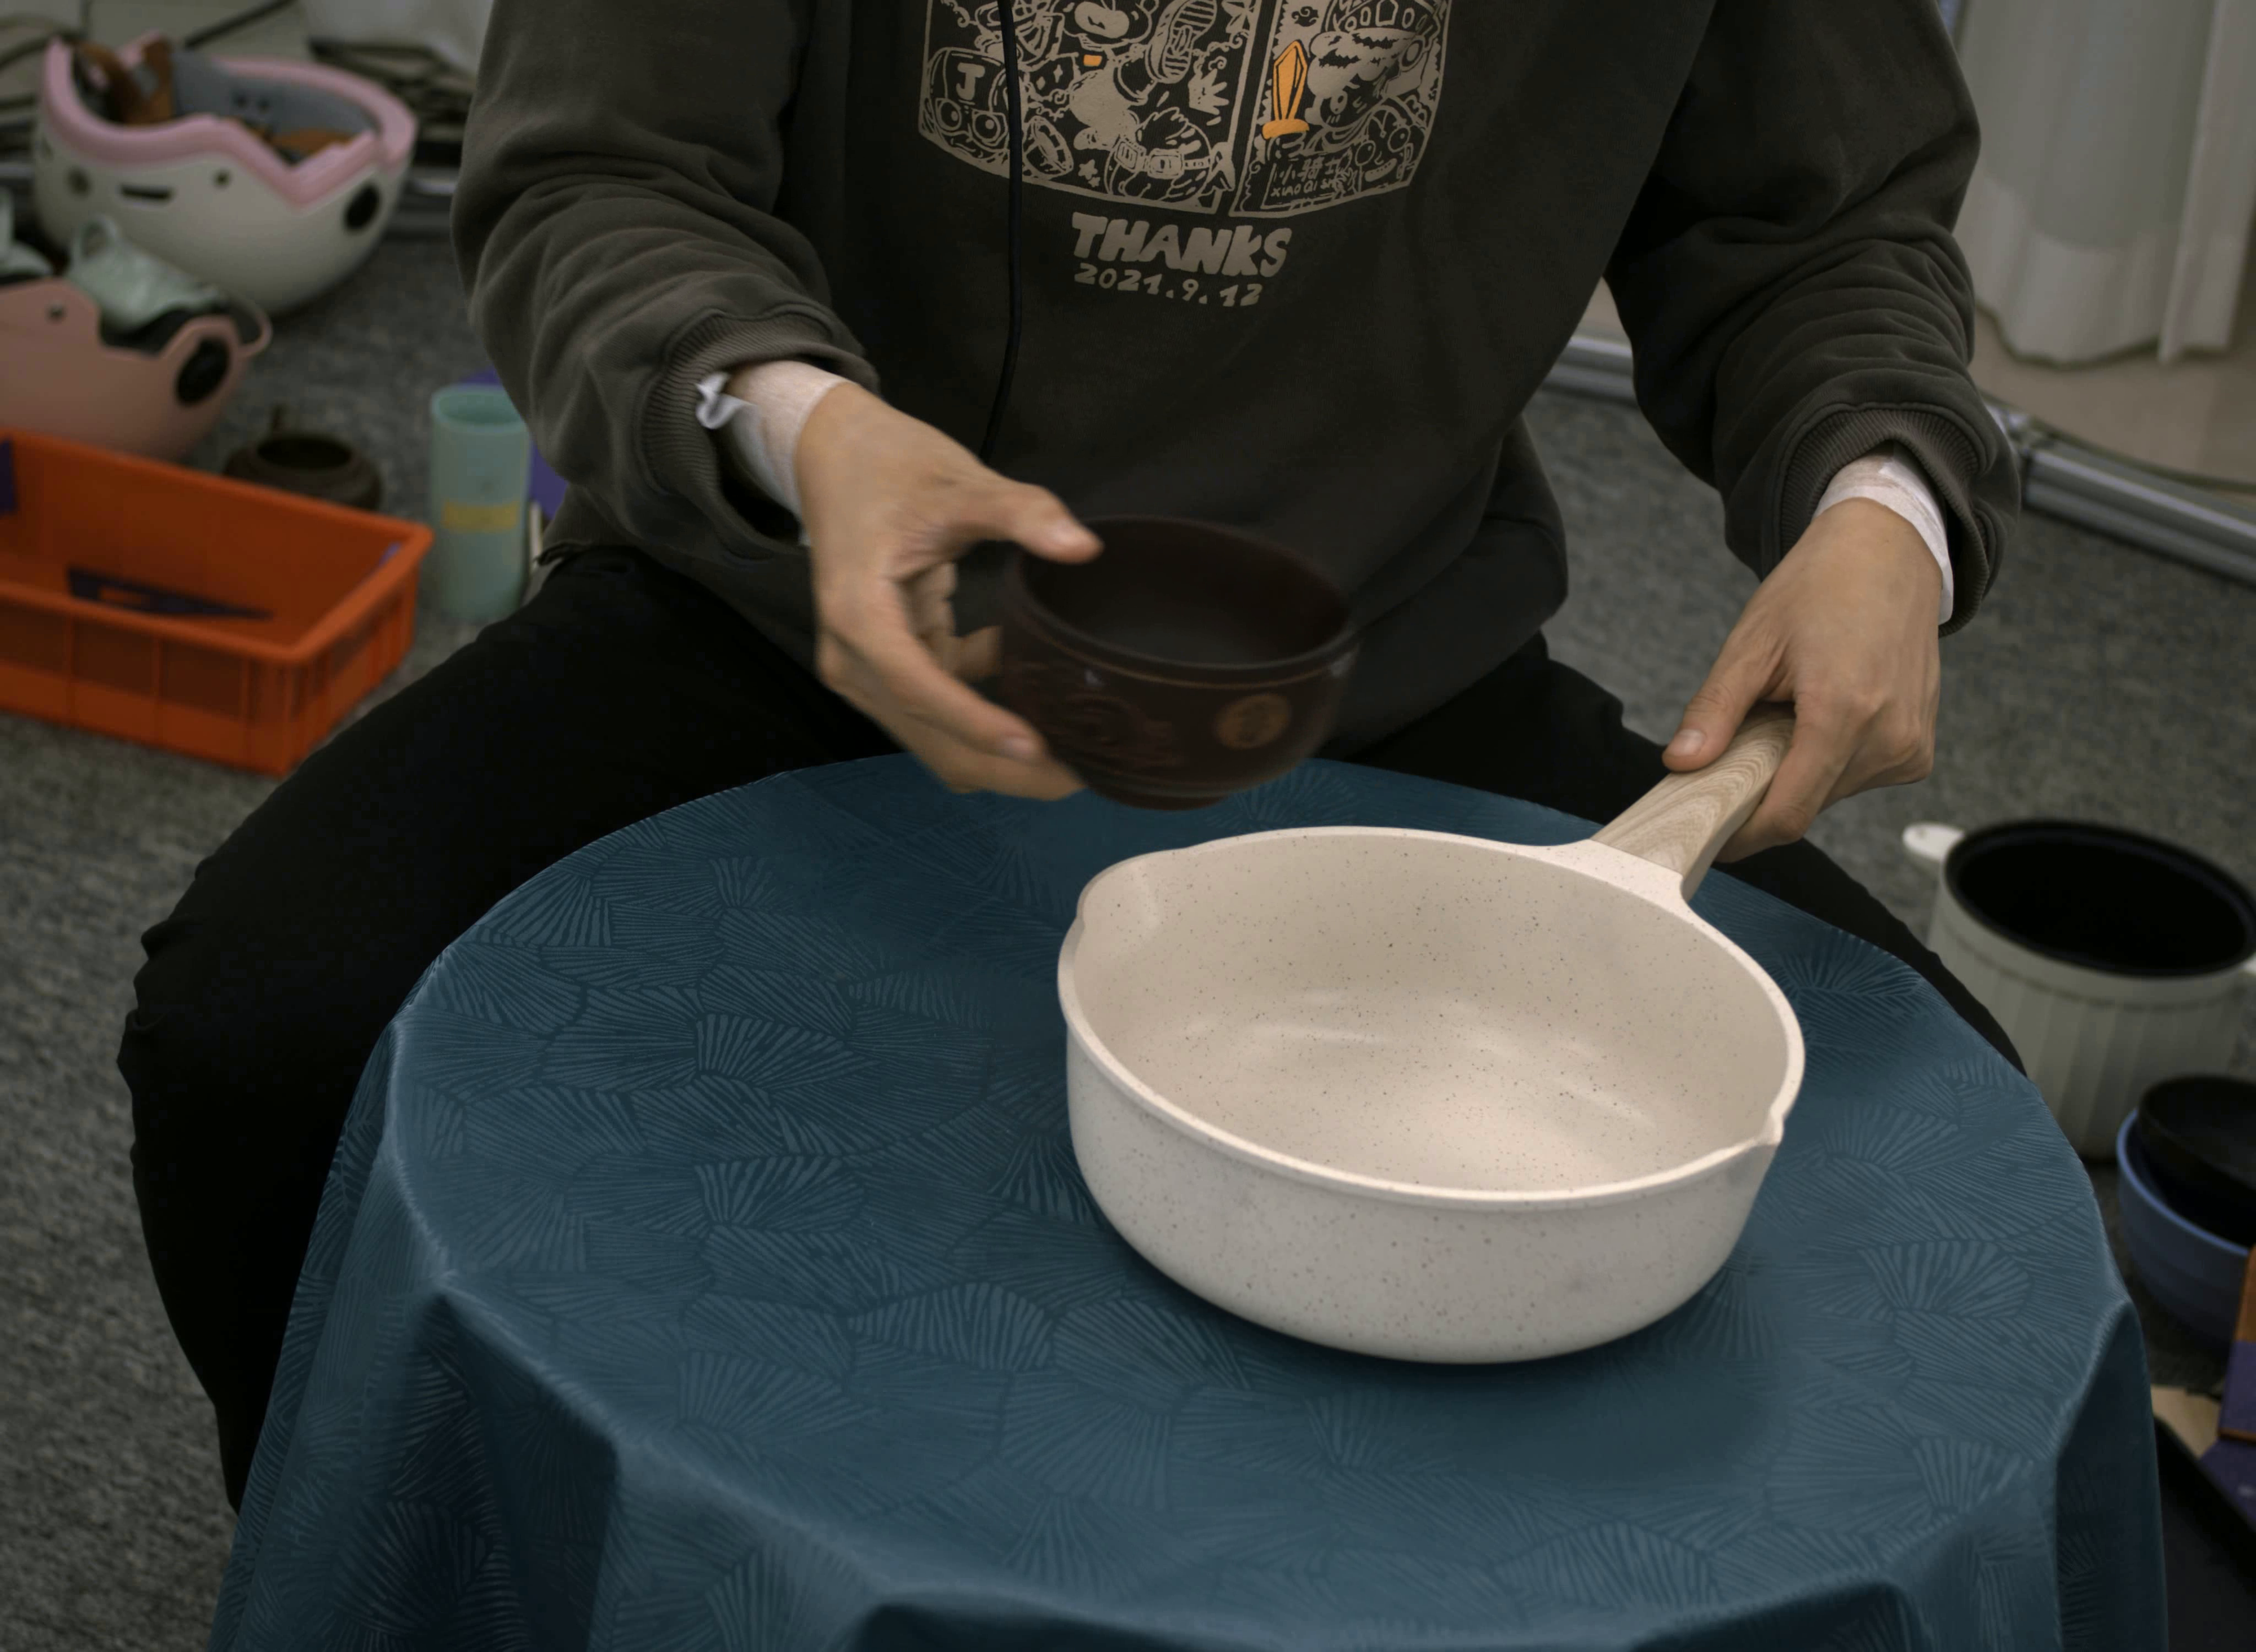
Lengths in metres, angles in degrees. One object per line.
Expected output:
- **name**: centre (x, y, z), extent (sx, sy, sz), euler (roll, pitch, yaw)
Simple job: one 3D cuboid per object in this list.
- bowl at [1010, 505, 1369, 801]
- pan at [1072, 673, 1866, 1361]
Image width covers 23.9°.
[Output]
- **bowl**: centre (0.018, -0.051, 1.754), extent (0.117, 0.069, 0.119), euler (5, 26, -3)
- **pan**: centre (0.152, 0.059, 1.858), extent (0.265, 0.101, 0.434), euler (19, 29, 27)
